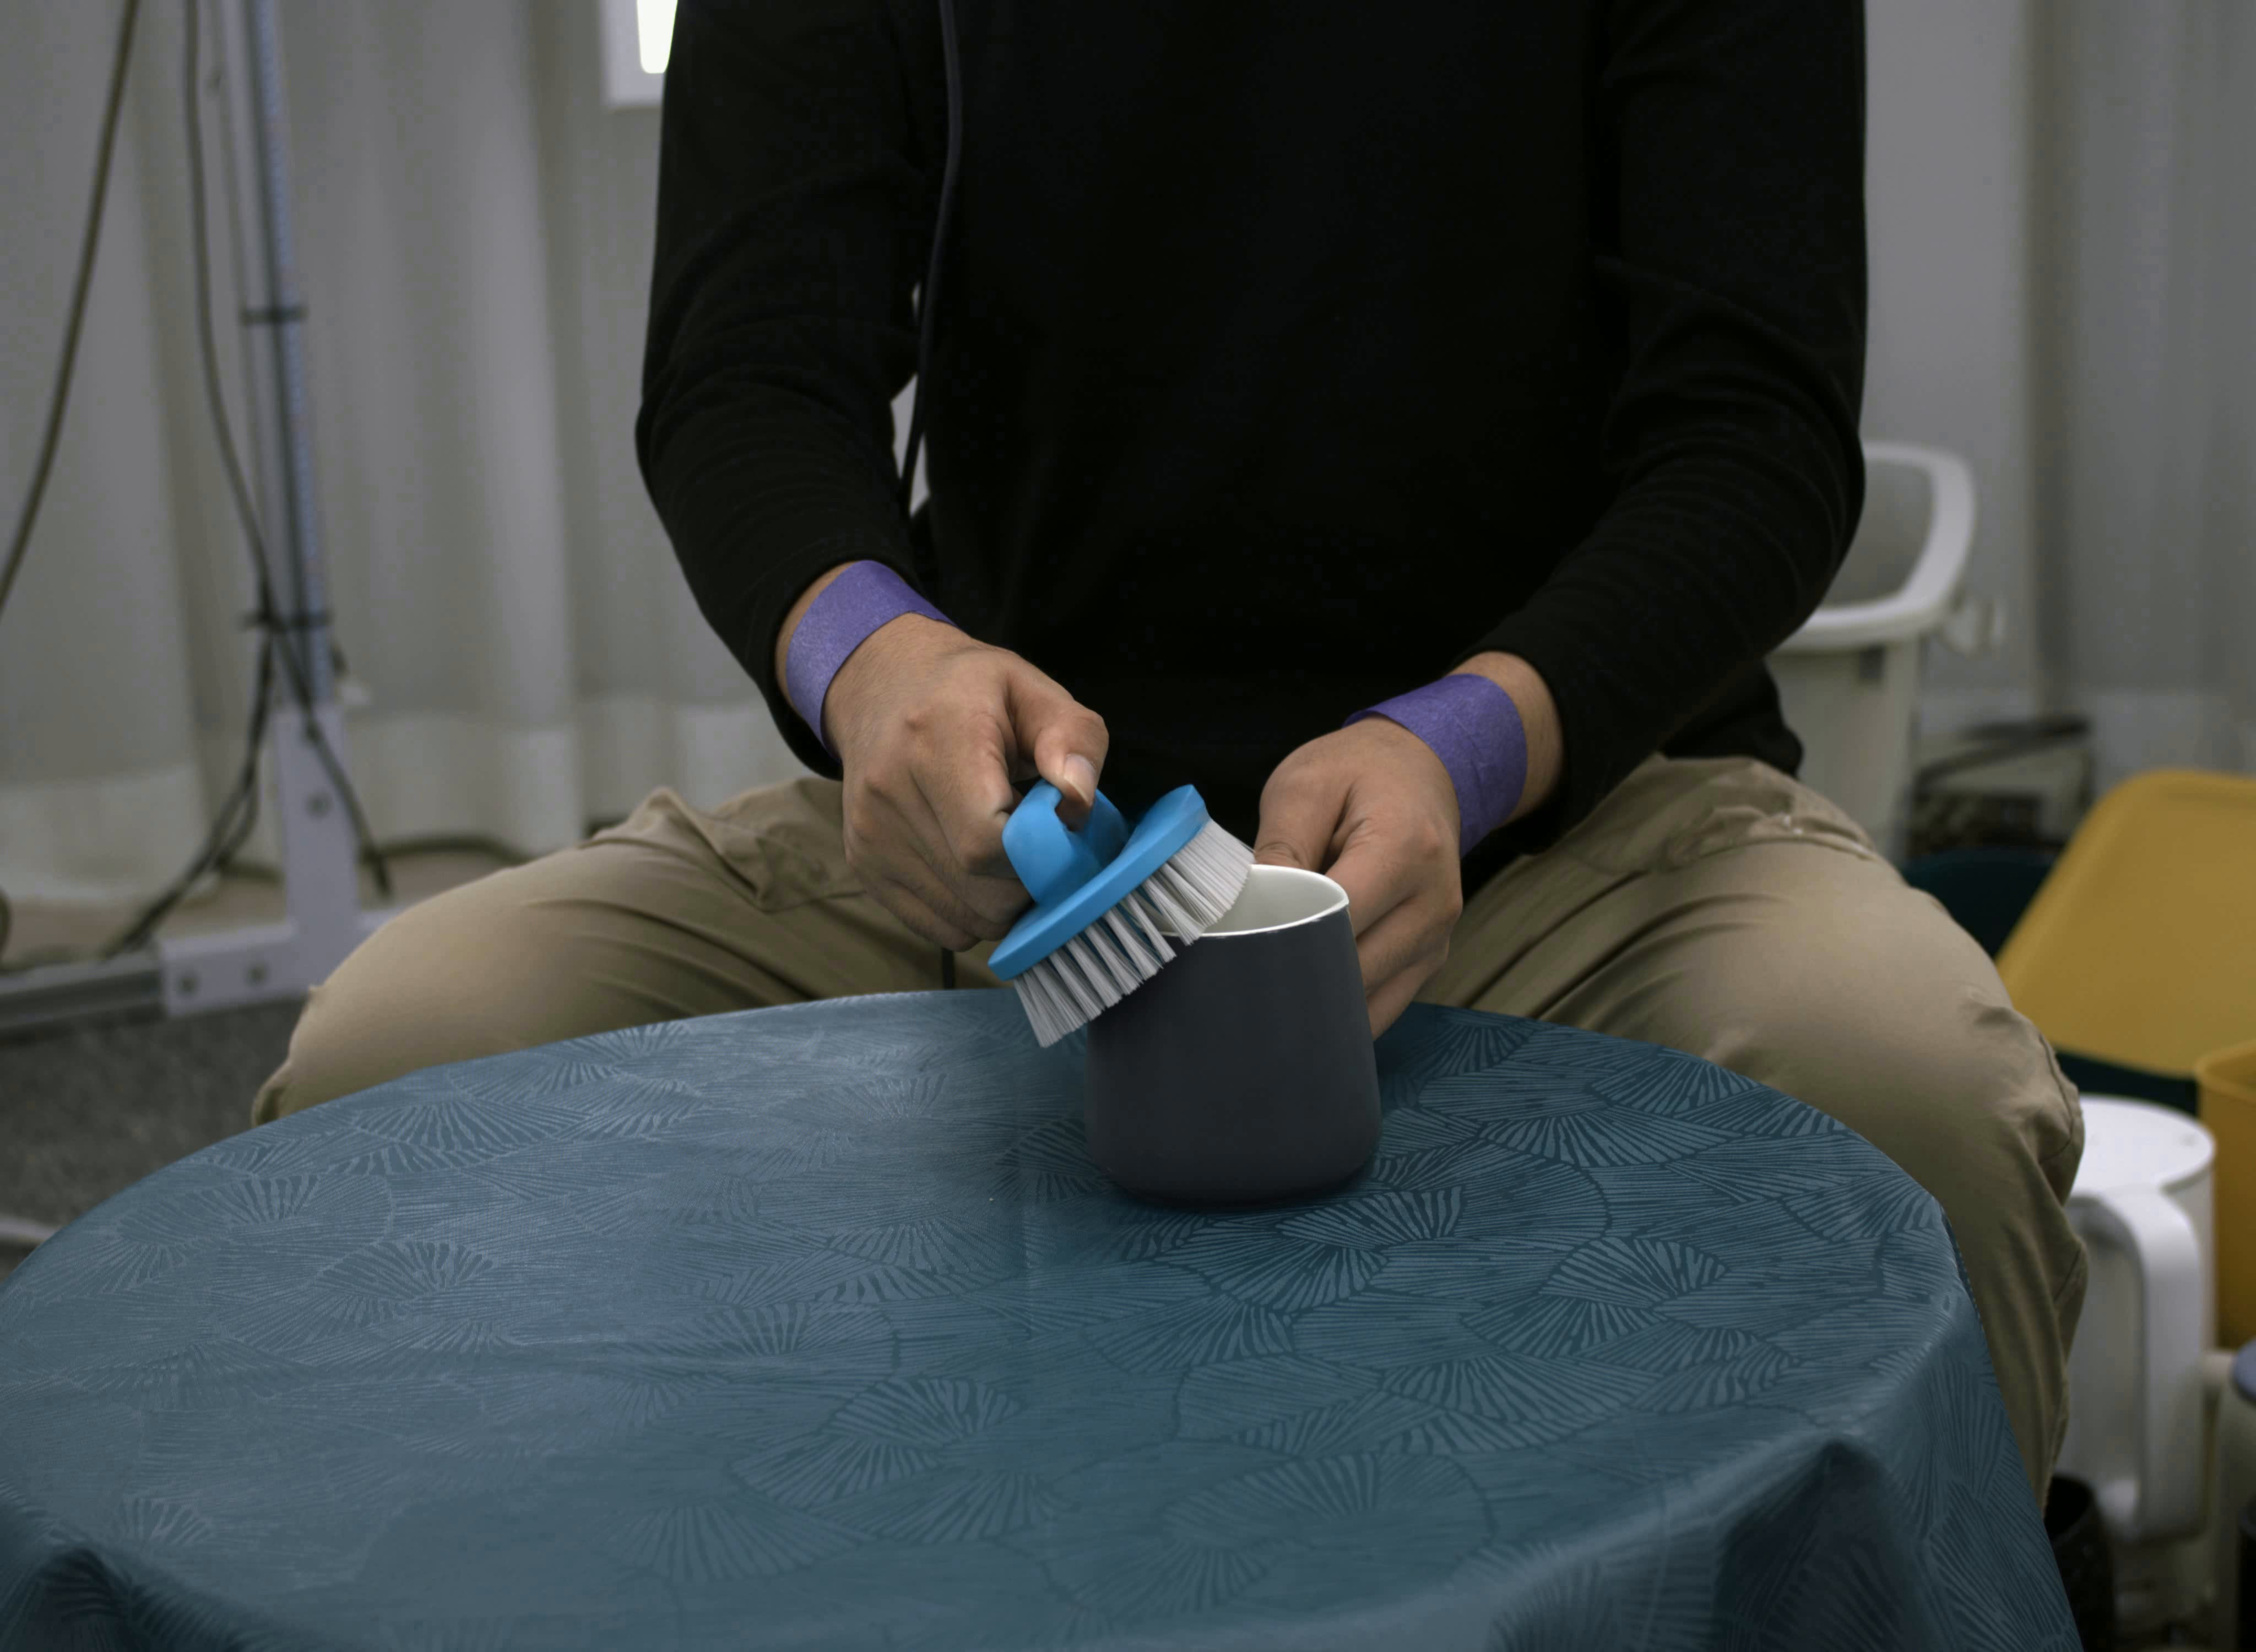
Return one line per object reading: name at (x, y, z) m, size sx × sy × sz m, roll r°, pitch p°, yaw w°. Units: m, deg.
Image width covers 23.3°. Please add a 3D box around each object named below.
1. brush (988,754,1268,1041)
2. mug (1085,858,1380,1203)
brush at (-0.009, 0.011, 1.727) m, size 0.084 × 0.064 × 0.142 m, roll -41°, pitch 3°, yaw 14°
mug at (0.035, 0.060, 1.732) m, size 0.093 × 0.089 × 0.124 m, roll 1°, pitch 17°, yaw 14°
